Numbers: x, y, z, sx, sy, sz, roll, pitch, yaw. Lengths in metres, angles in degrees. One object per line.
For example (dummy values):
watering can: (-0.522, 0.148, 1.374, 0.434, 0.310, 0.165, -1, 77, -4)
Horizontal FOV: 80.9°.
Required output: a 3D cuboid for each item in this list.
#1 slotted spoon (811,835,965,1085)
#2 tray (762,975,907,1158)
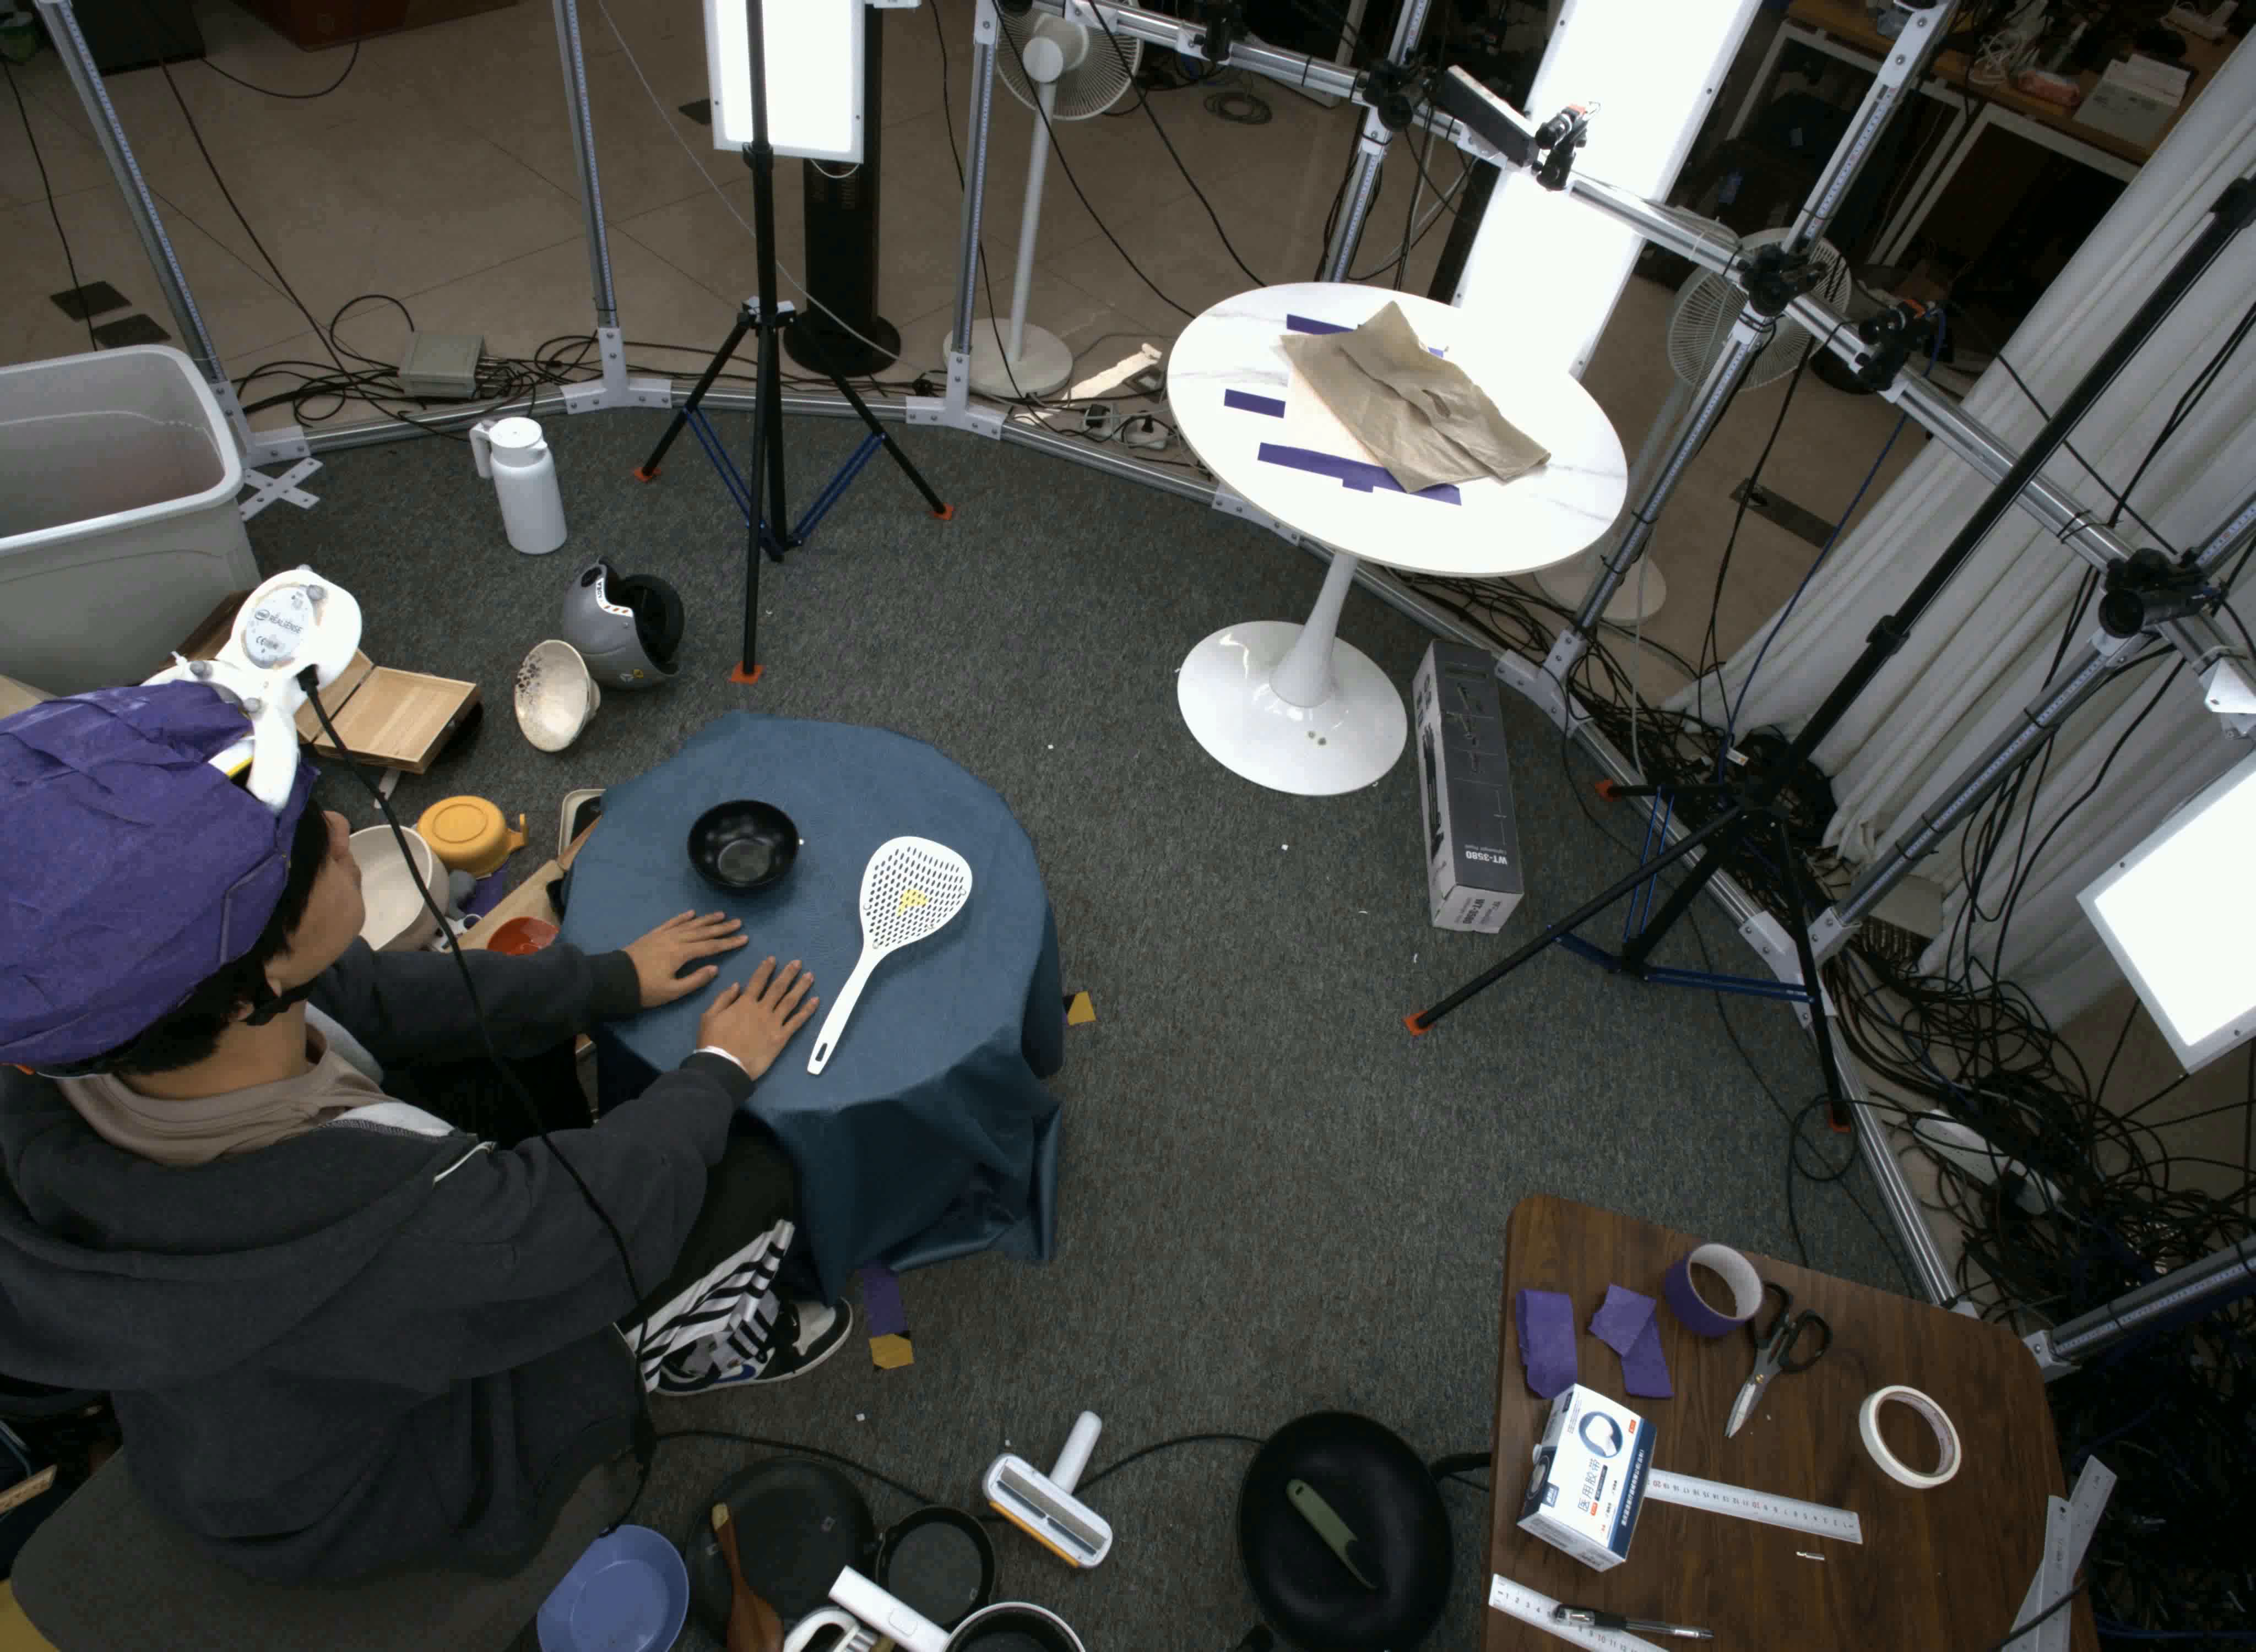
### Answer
slotted spoon: (-0.317, 0.159, 1.612, 0.136, 0.051, 0.345, 24, 52, -1)
tray: (-0.486, 0.385, 2.135, 0.192, 0.028, 0.293, -8, 56, -20)
